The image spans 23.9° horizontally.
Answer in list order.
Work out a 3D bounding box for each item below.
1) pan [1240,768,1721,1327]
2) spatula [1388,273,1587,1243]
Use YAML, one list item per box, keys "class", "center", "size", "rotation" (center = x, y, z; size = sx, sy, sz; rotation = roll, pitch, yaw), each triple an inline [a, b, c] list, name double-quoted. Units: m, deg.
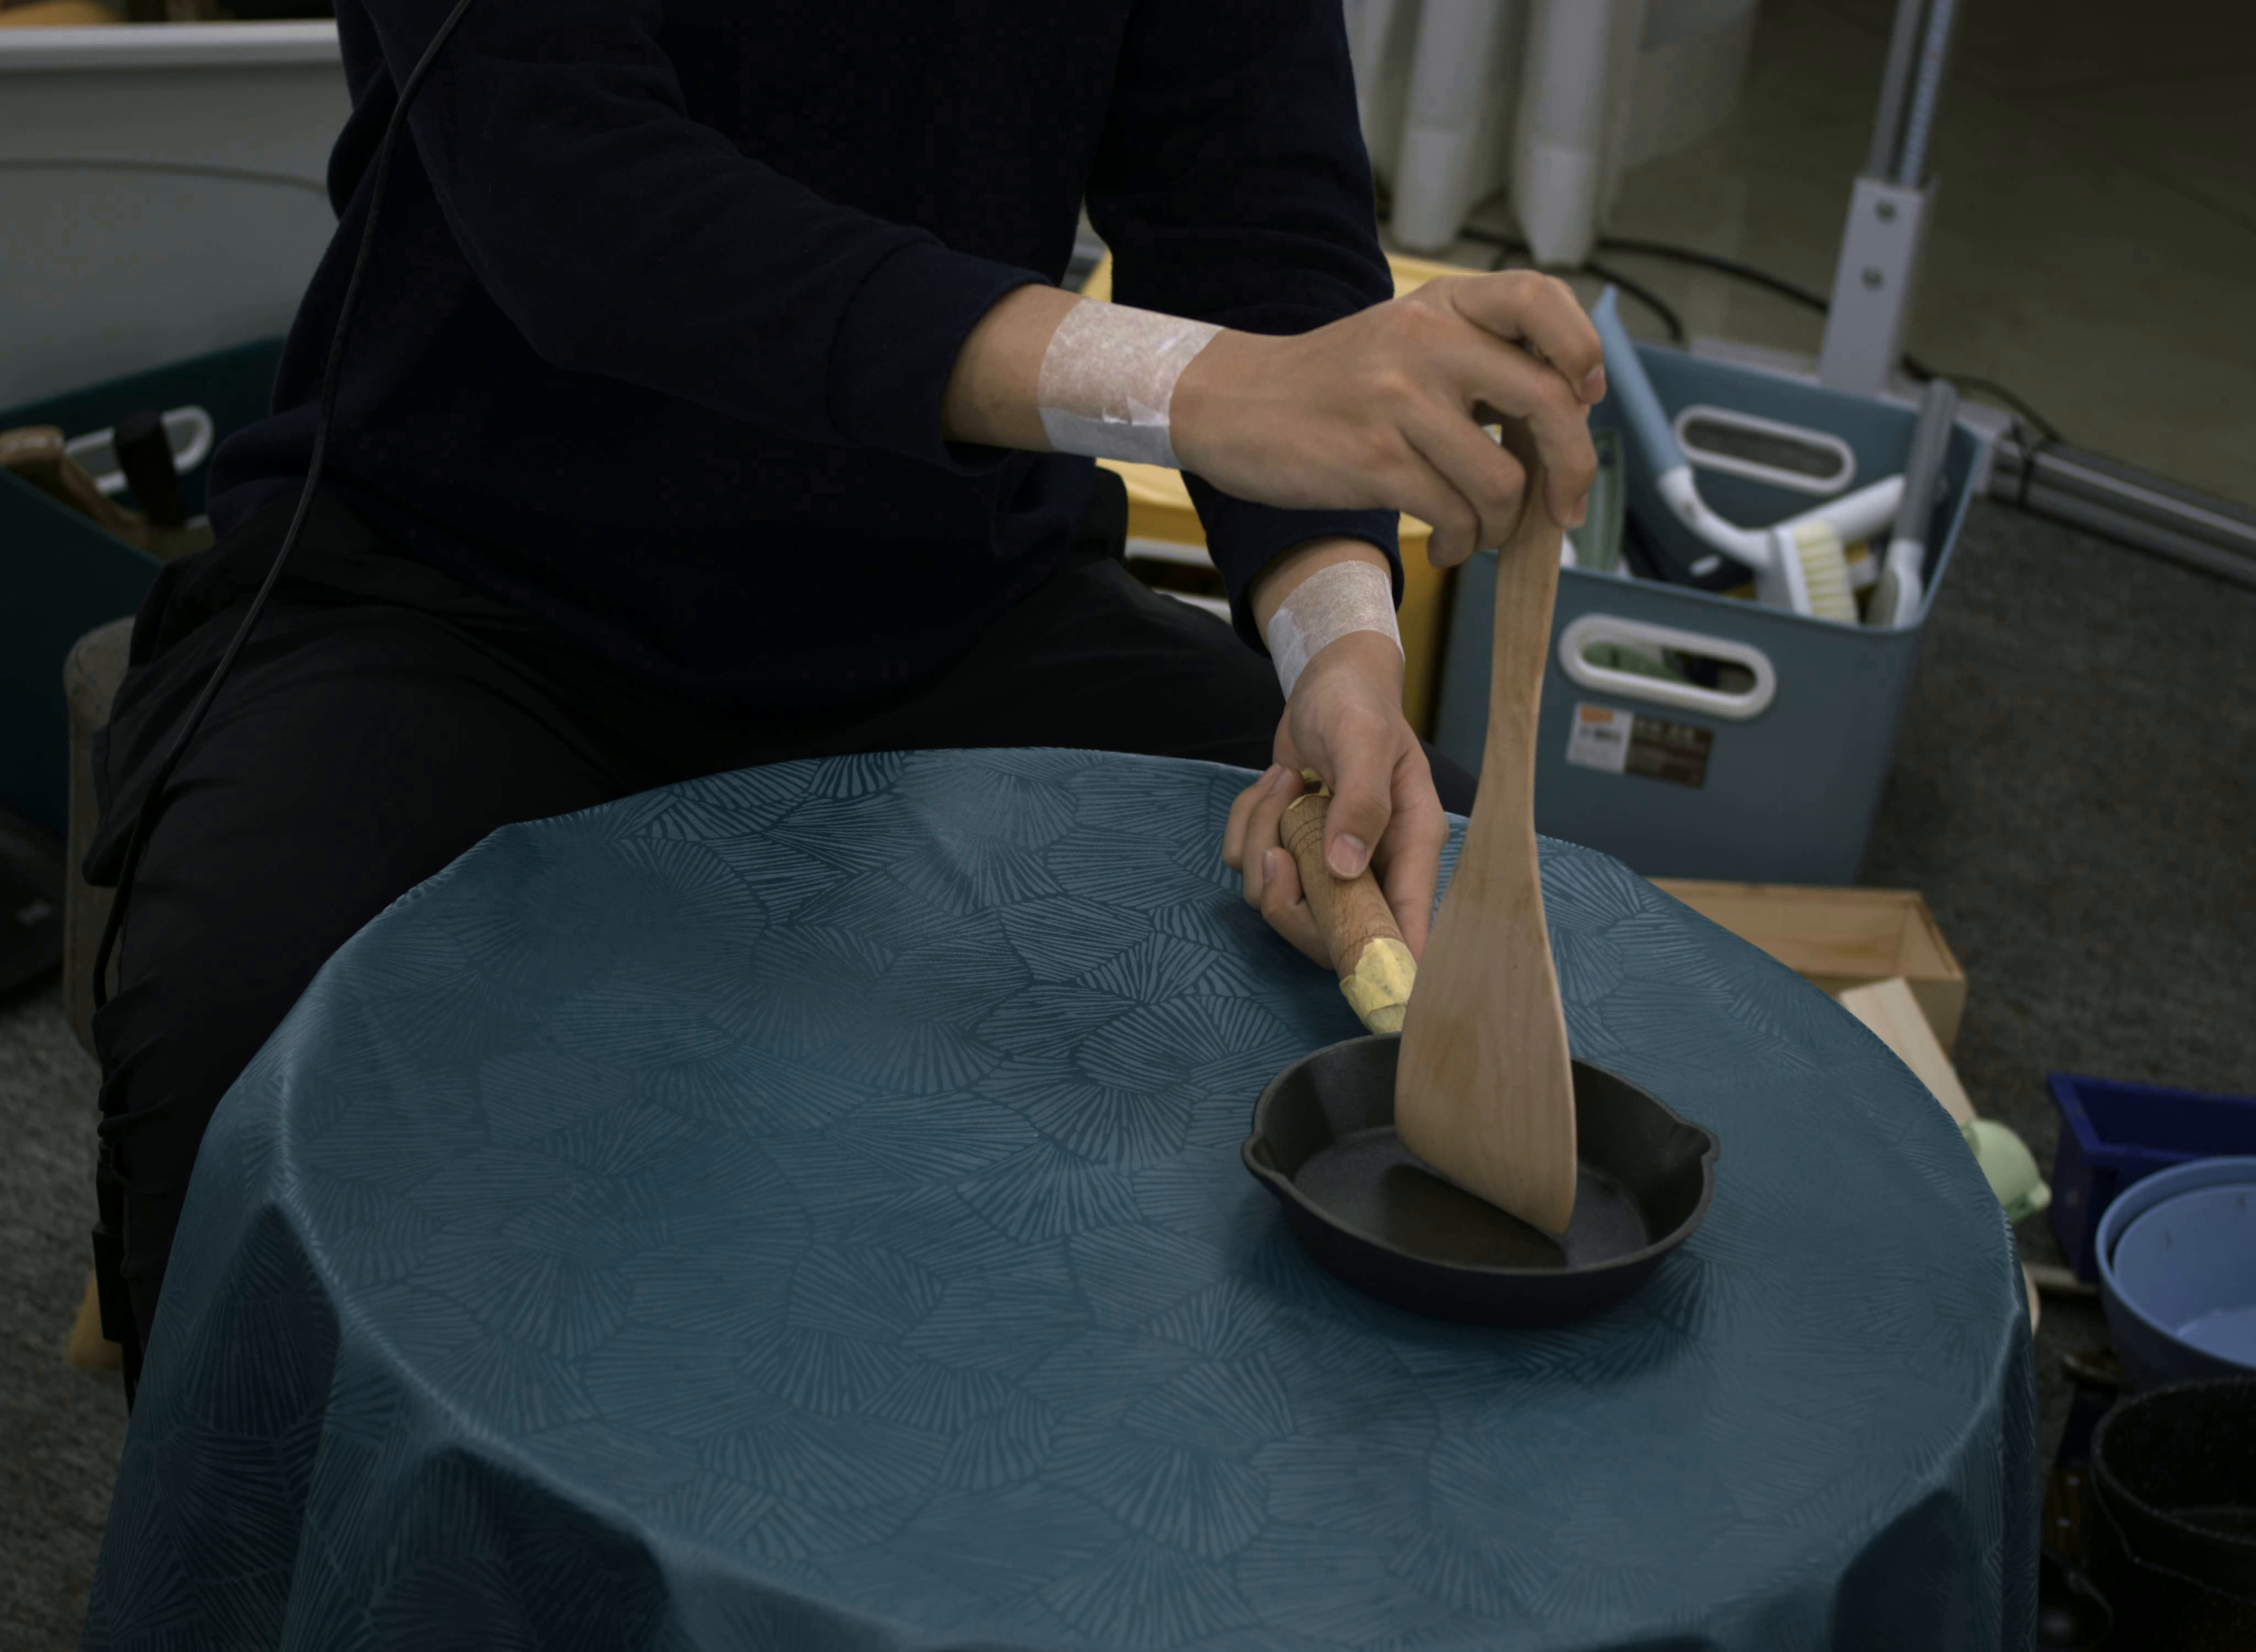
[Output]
- class: "pan"
  center: [0.101, 0.075, 1.865]
  size: [0.168, 0.049, 0.327]
  rotation: [0, 29, -13]
- class: "spatula"
  center: [0.128, -0.022, 1.768]
  size: [0.080, 0.327, 0.016]
  rotation: [17, 20, 38]
